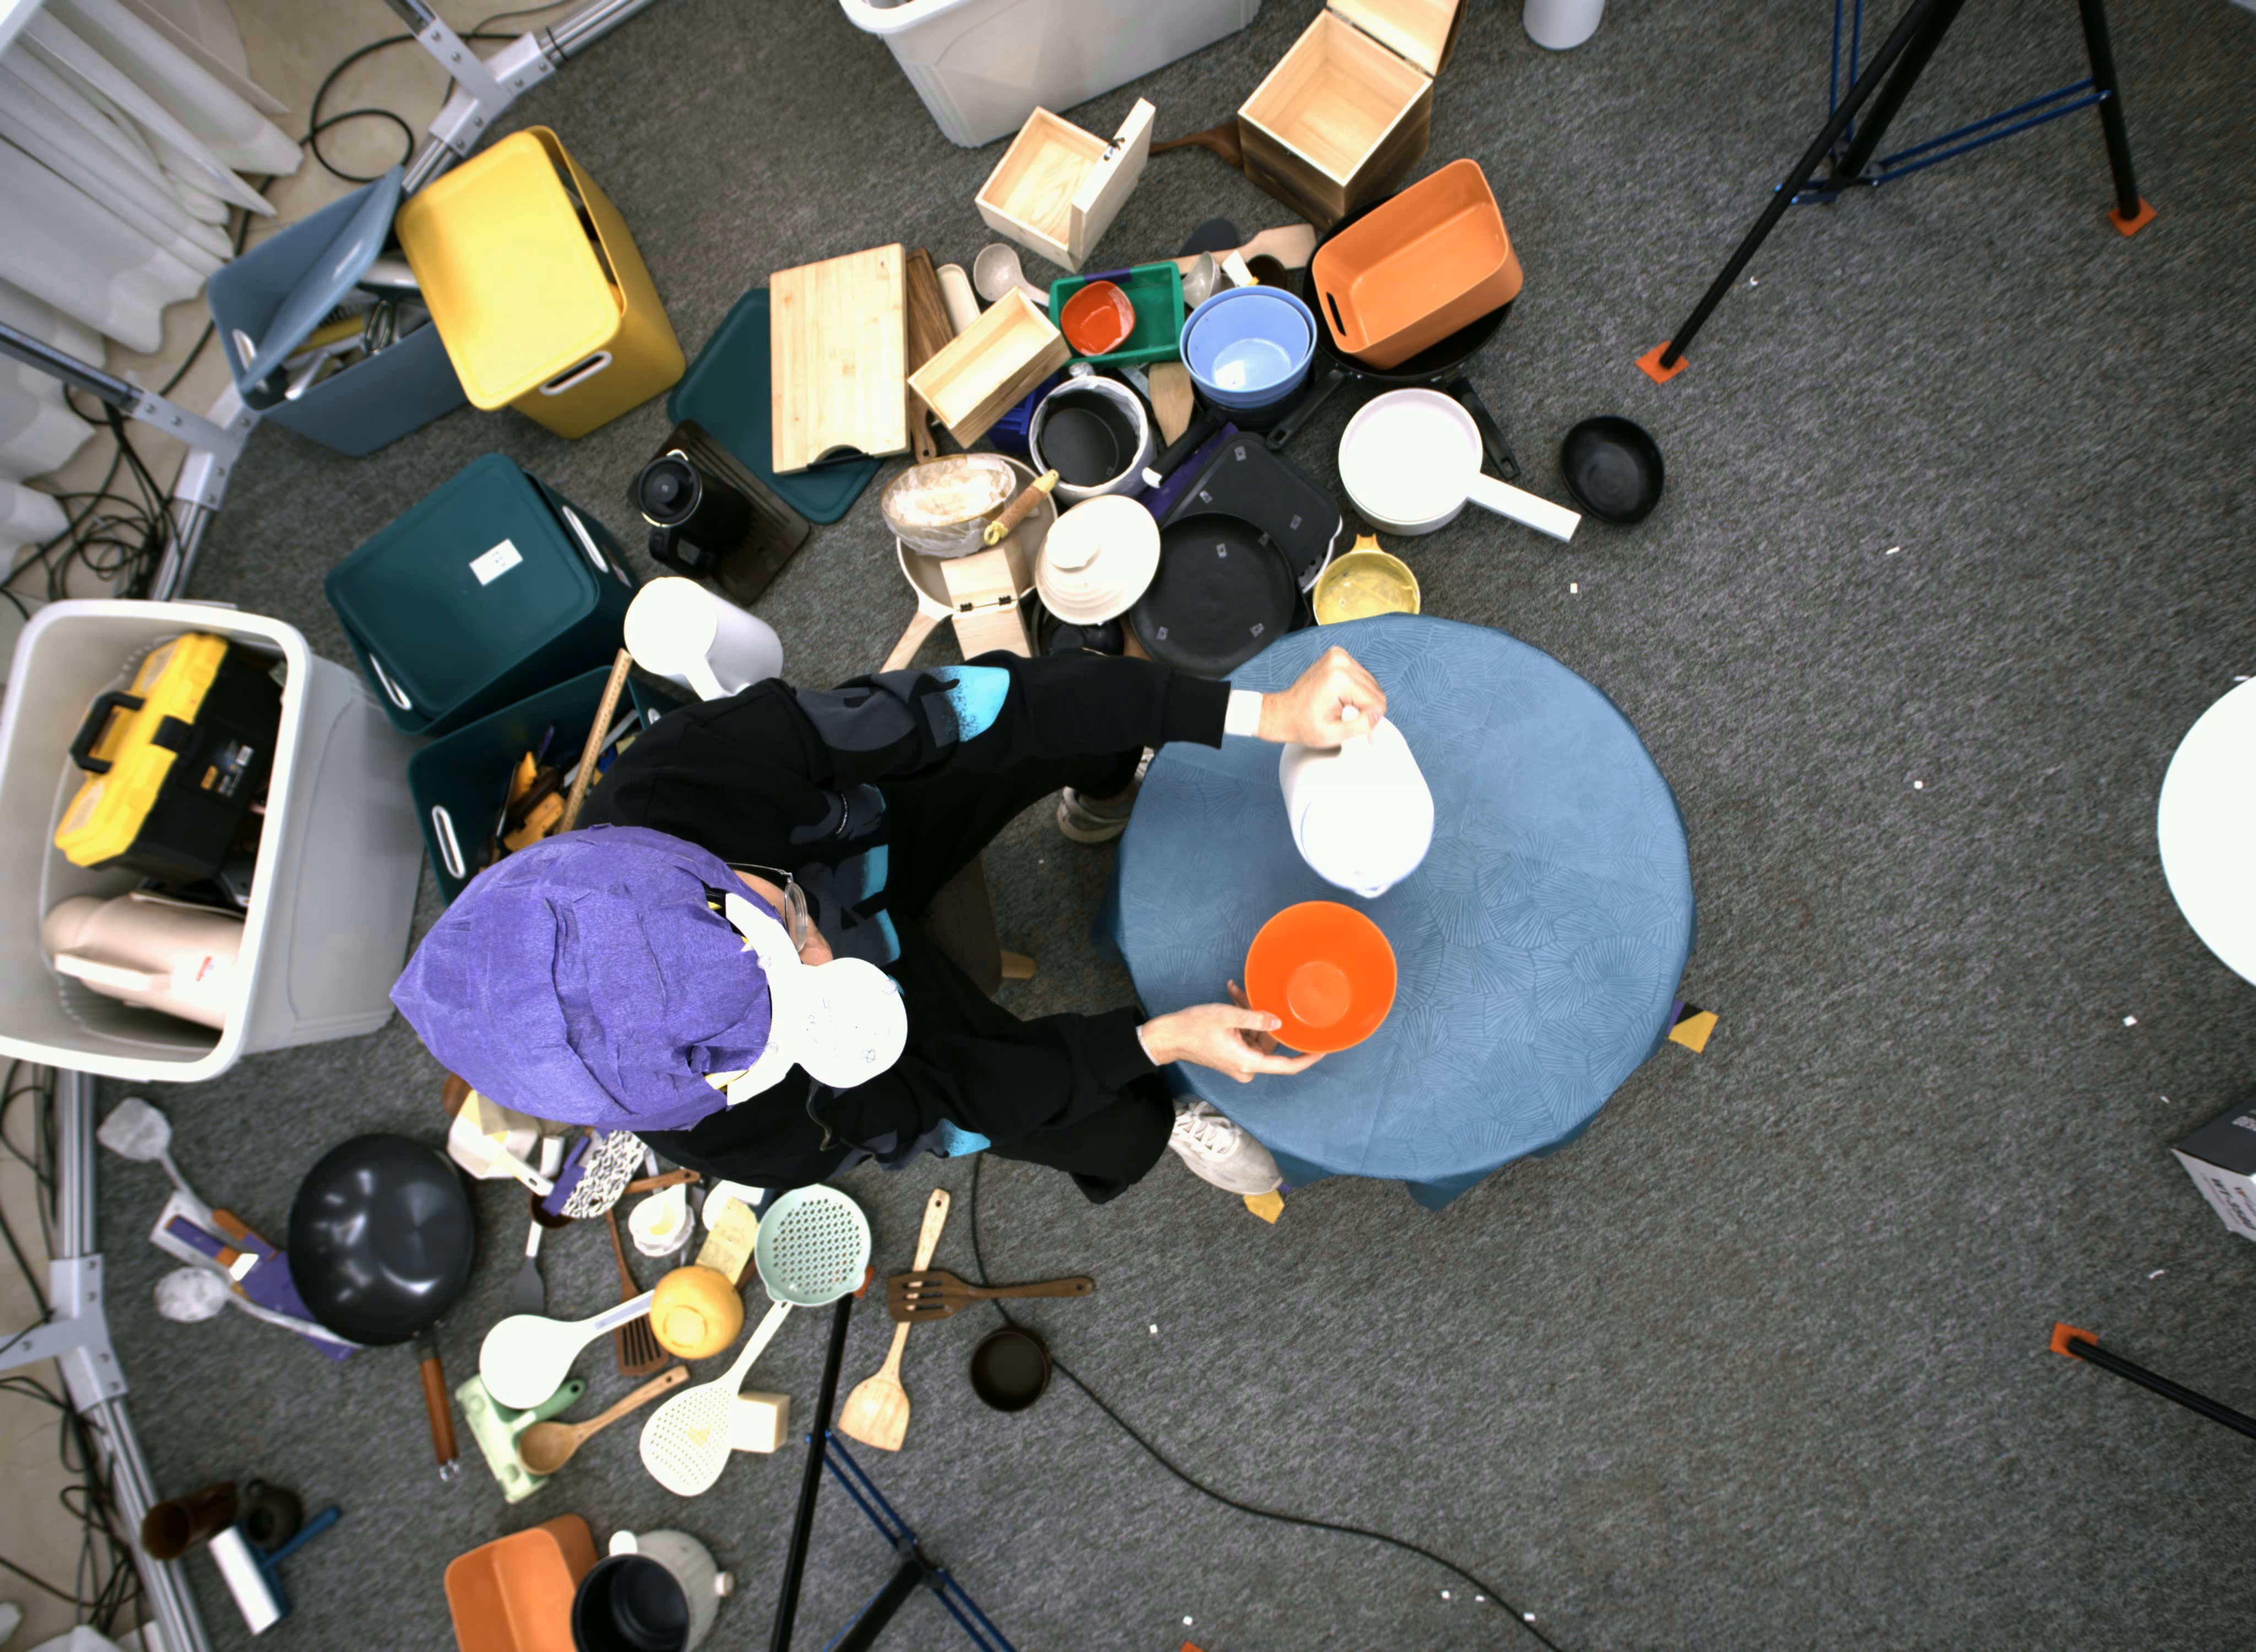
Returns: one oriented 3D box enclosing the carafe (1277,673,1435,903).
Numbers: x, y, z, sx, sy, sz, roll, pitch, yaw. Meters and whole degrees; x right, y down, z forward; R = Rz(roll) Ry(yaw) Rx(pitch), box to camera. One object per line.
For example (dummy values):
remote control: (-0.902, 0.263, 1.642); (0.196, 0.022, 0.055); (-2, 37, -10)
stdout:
carafe: (0.207, -0.047, 1.284); (0.132, 0.179, 0.194); (-10, 113, 5)

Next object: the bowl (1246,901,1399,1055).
bowl: (0.193, 0.155, 1.385); (0.148, 0.105, 0.146); (-1, 81, 7)
